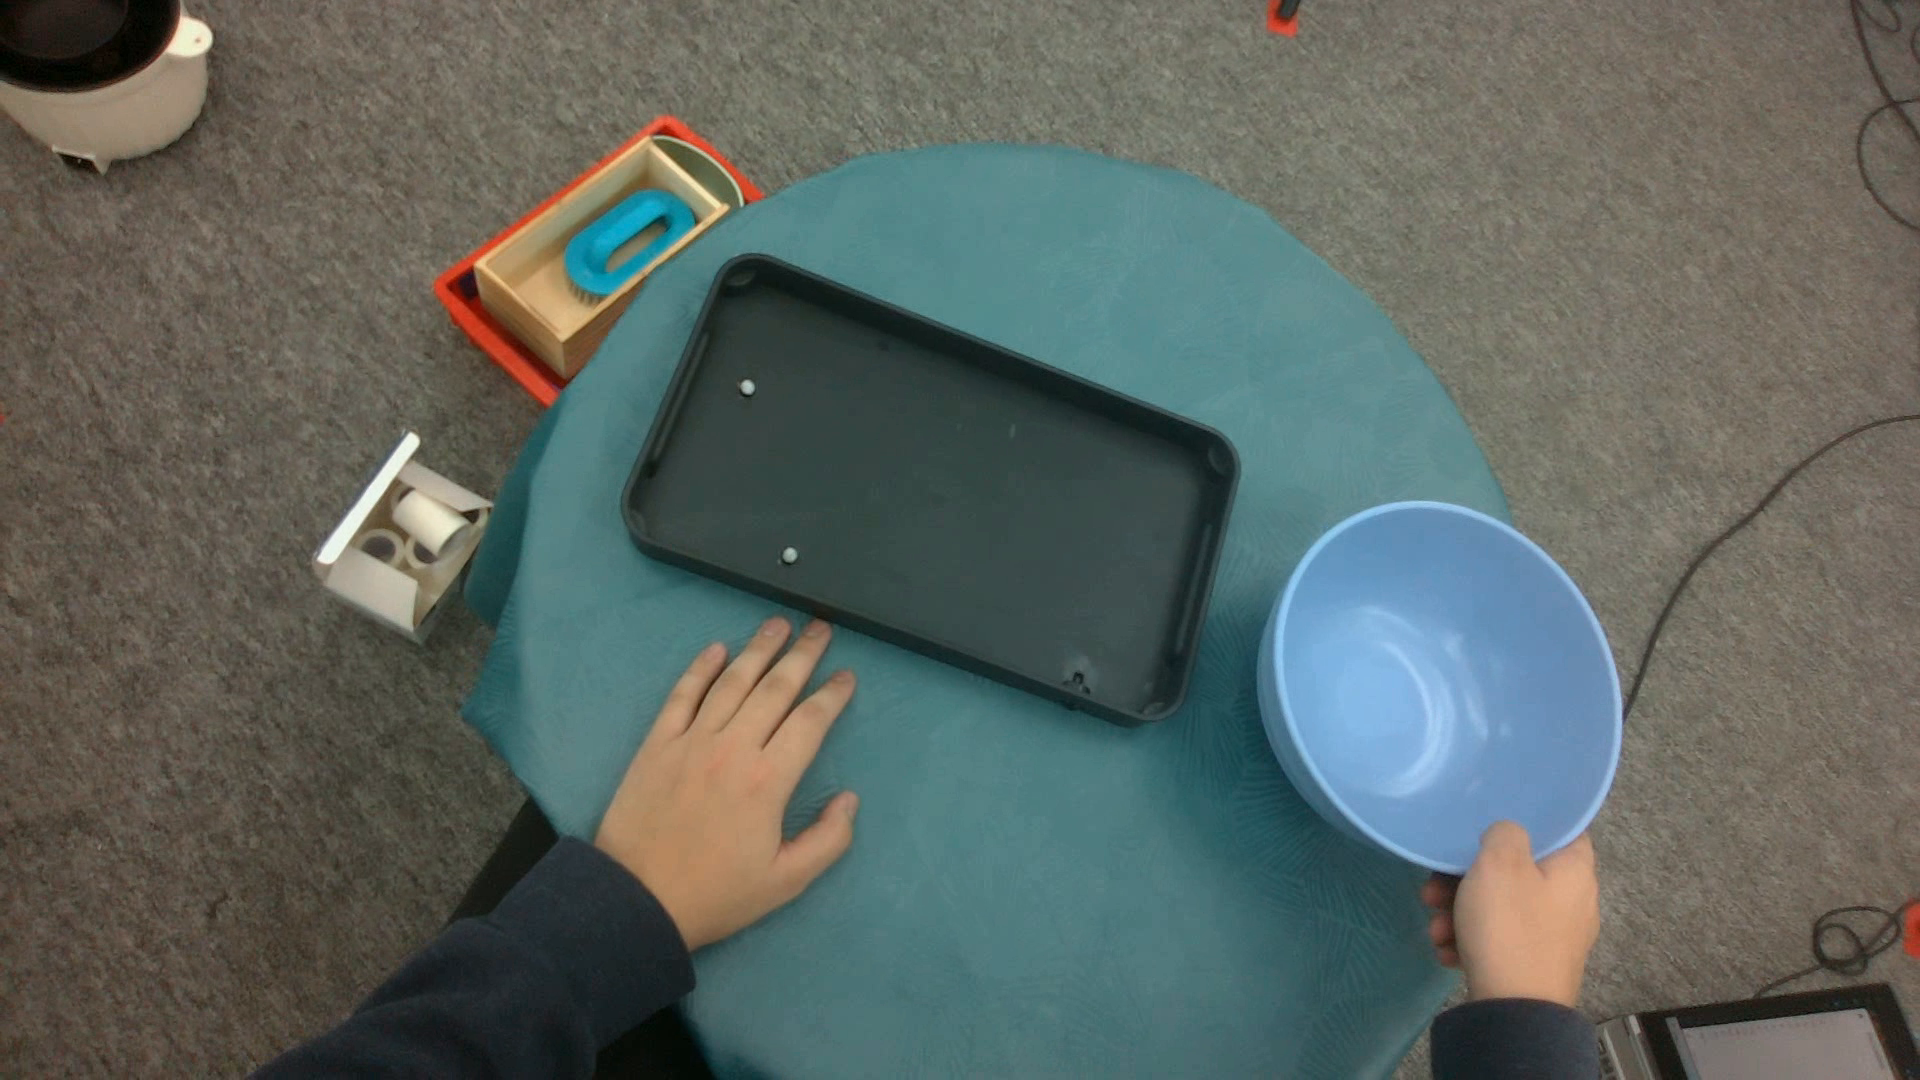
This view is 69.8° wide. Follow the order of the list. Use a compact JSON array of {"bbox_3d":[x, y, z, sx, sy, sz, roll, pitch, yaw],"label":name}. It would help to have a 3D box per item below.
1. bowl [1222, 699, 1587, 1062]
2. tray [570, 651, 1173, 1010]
[{"bbox_3d":[0.229,0.197,0.760,0.196,0.095,0.197,5,54,-8],"label":"bowl"},{"bbox_3d":[-0.043,0.162,0.775,0.318,0.037,0.185,6,55,-5],"label":"tray"}]
